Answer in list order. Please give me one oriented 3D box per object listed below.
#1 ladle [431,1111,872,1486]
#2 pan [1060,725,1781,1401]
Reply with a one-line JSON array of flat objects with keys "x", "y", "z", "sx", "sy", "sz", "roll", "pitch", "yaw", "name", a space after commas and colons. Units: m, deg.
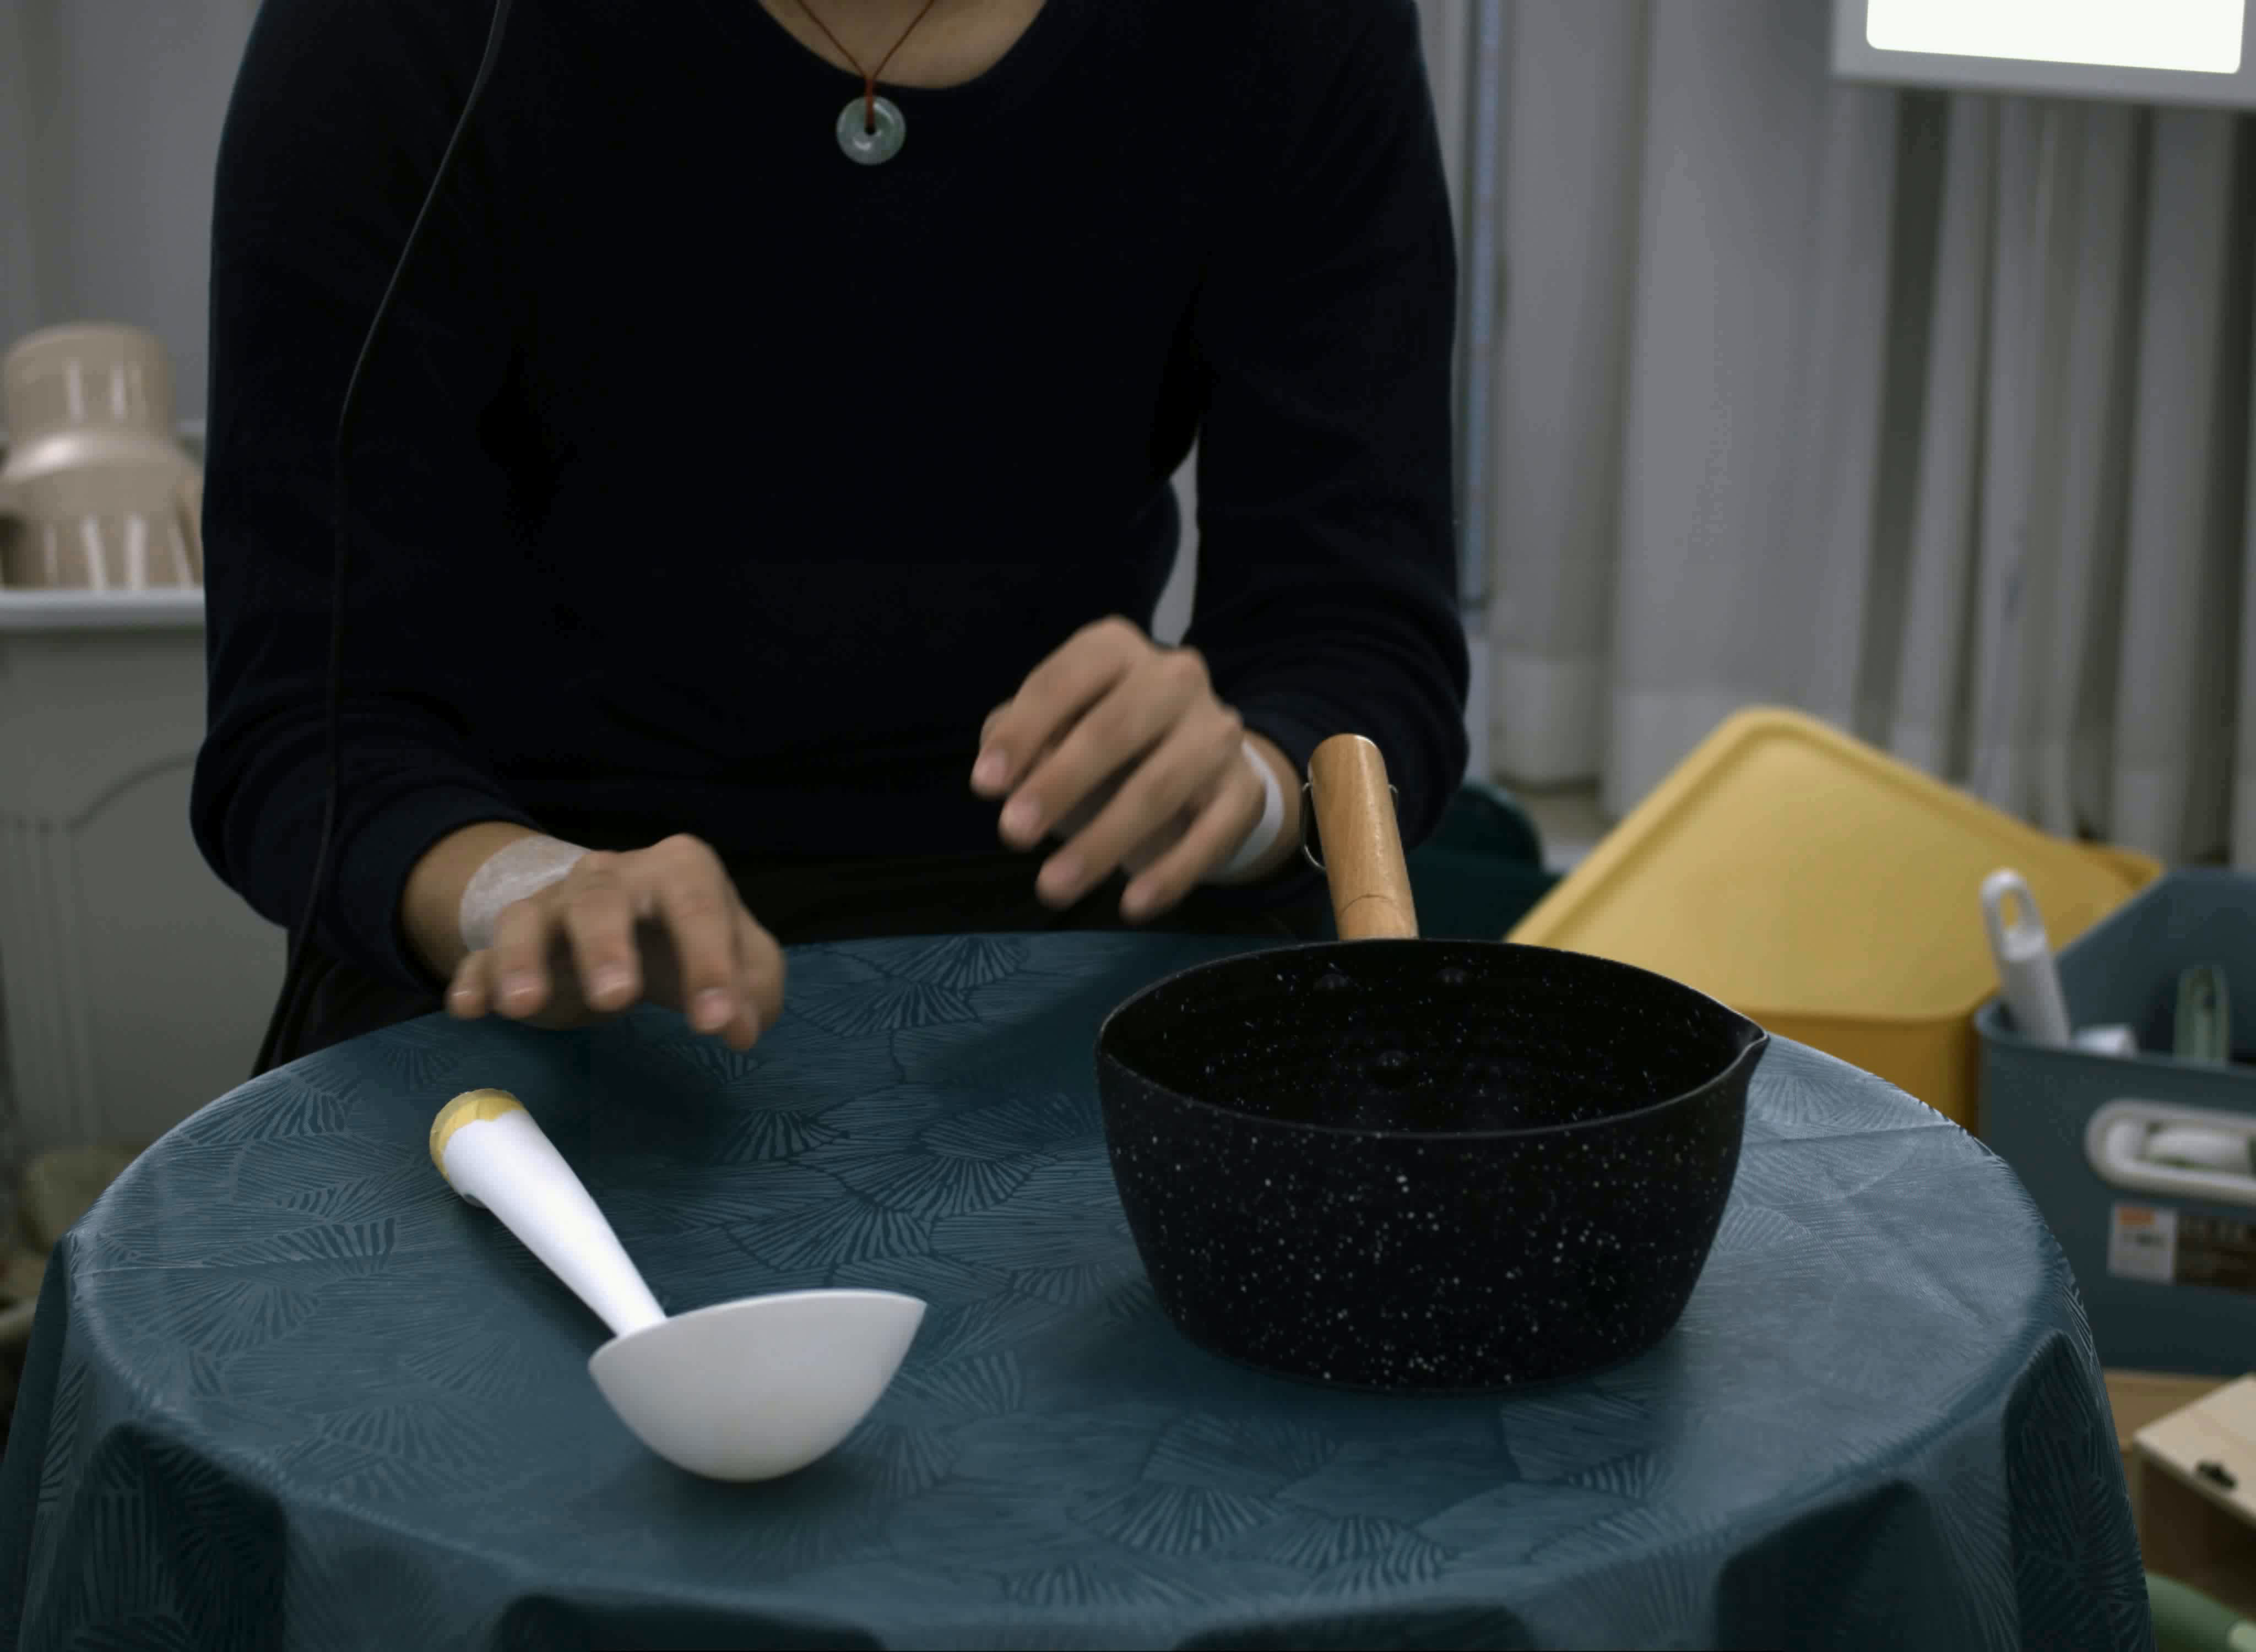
[{"x": -0.149, "y": 0.117, "z": 1.482, "sx": 0.090, "sy": 0.070, "sz": 0.290, "roll": -11, "pitch": 18, "yaw": -18, "name": "ladle"}, {"x": 0.079, "y": 0.066, "z": 1.590, "sx": 0.207, "sy": 0.109, "sz": 0.340, "roll": -2, "pitch": 17, "yaw": -4, "name": "pan"}]
